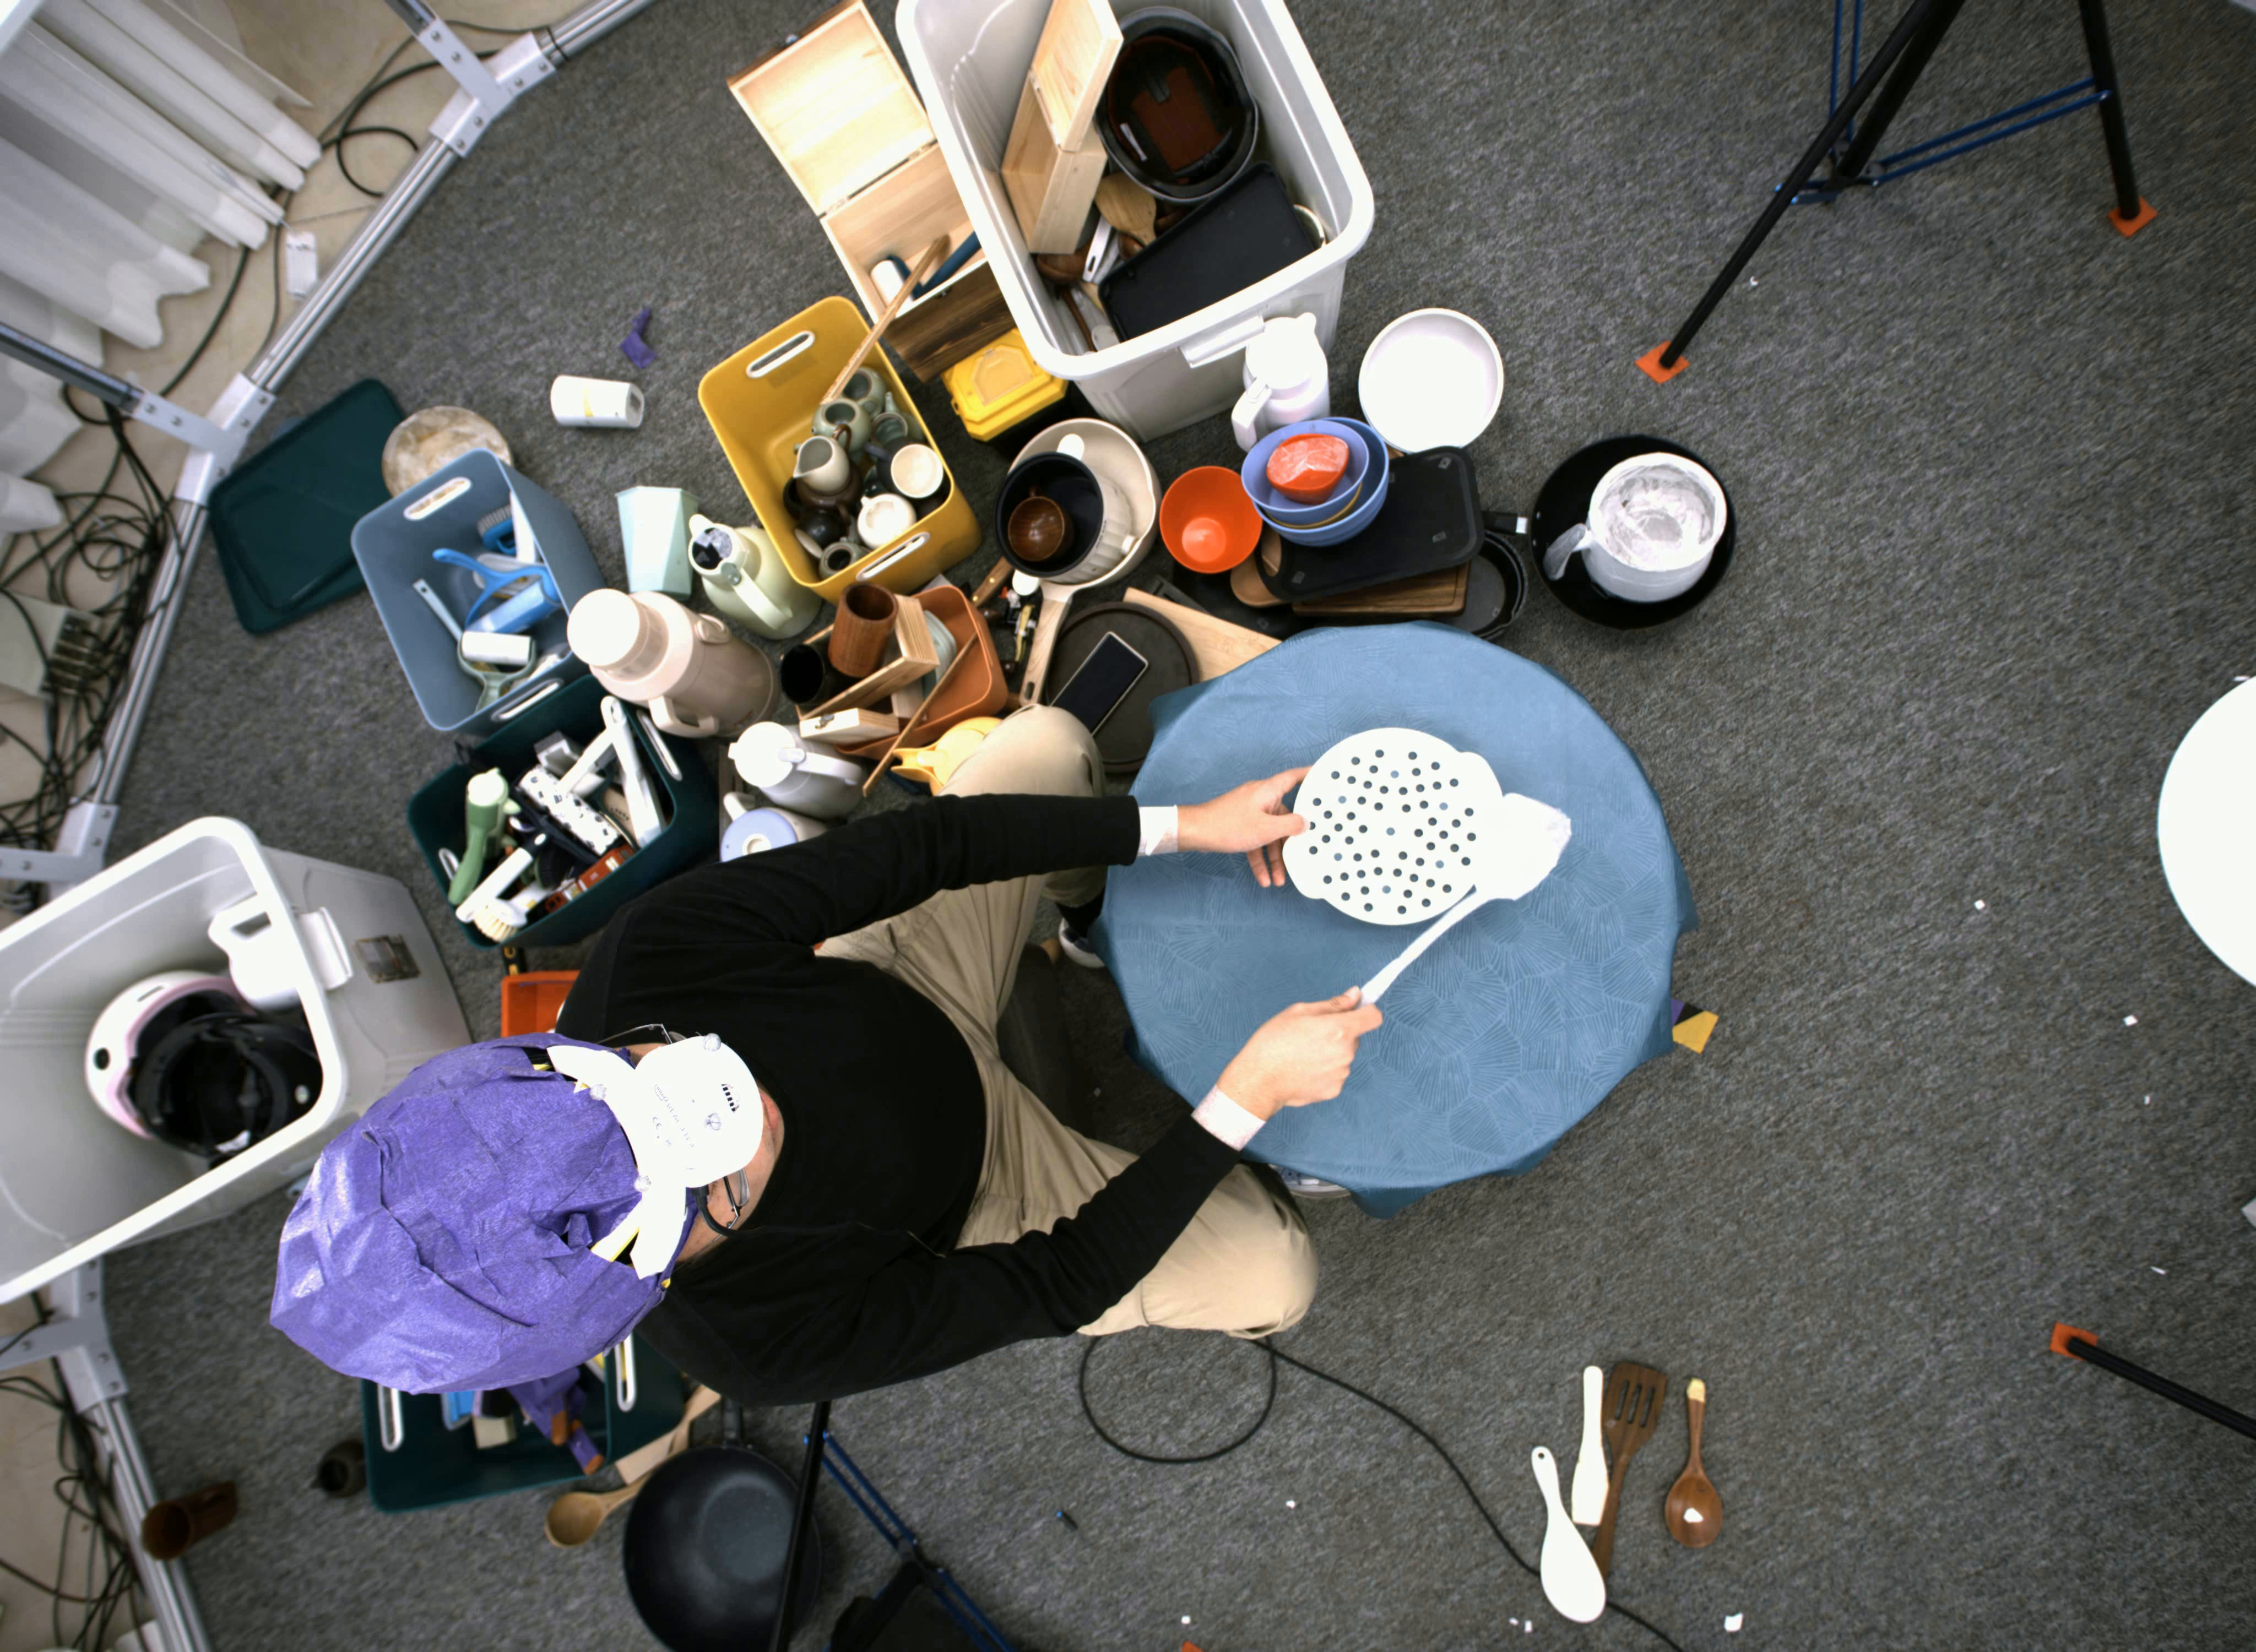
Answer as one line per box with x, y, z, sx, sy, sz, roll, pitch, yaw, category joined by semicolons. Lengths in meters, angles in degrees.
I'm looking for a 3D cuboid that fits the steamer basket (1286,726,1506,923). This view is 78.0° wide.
0.277;-0.001;1.427;0.232;0.069;0.200;-26;81;9;steamer basket

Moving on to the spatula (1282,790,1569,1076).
0.275;0.105;1.311;0.363;0.045;0.097;-42;37;-6;spatula
